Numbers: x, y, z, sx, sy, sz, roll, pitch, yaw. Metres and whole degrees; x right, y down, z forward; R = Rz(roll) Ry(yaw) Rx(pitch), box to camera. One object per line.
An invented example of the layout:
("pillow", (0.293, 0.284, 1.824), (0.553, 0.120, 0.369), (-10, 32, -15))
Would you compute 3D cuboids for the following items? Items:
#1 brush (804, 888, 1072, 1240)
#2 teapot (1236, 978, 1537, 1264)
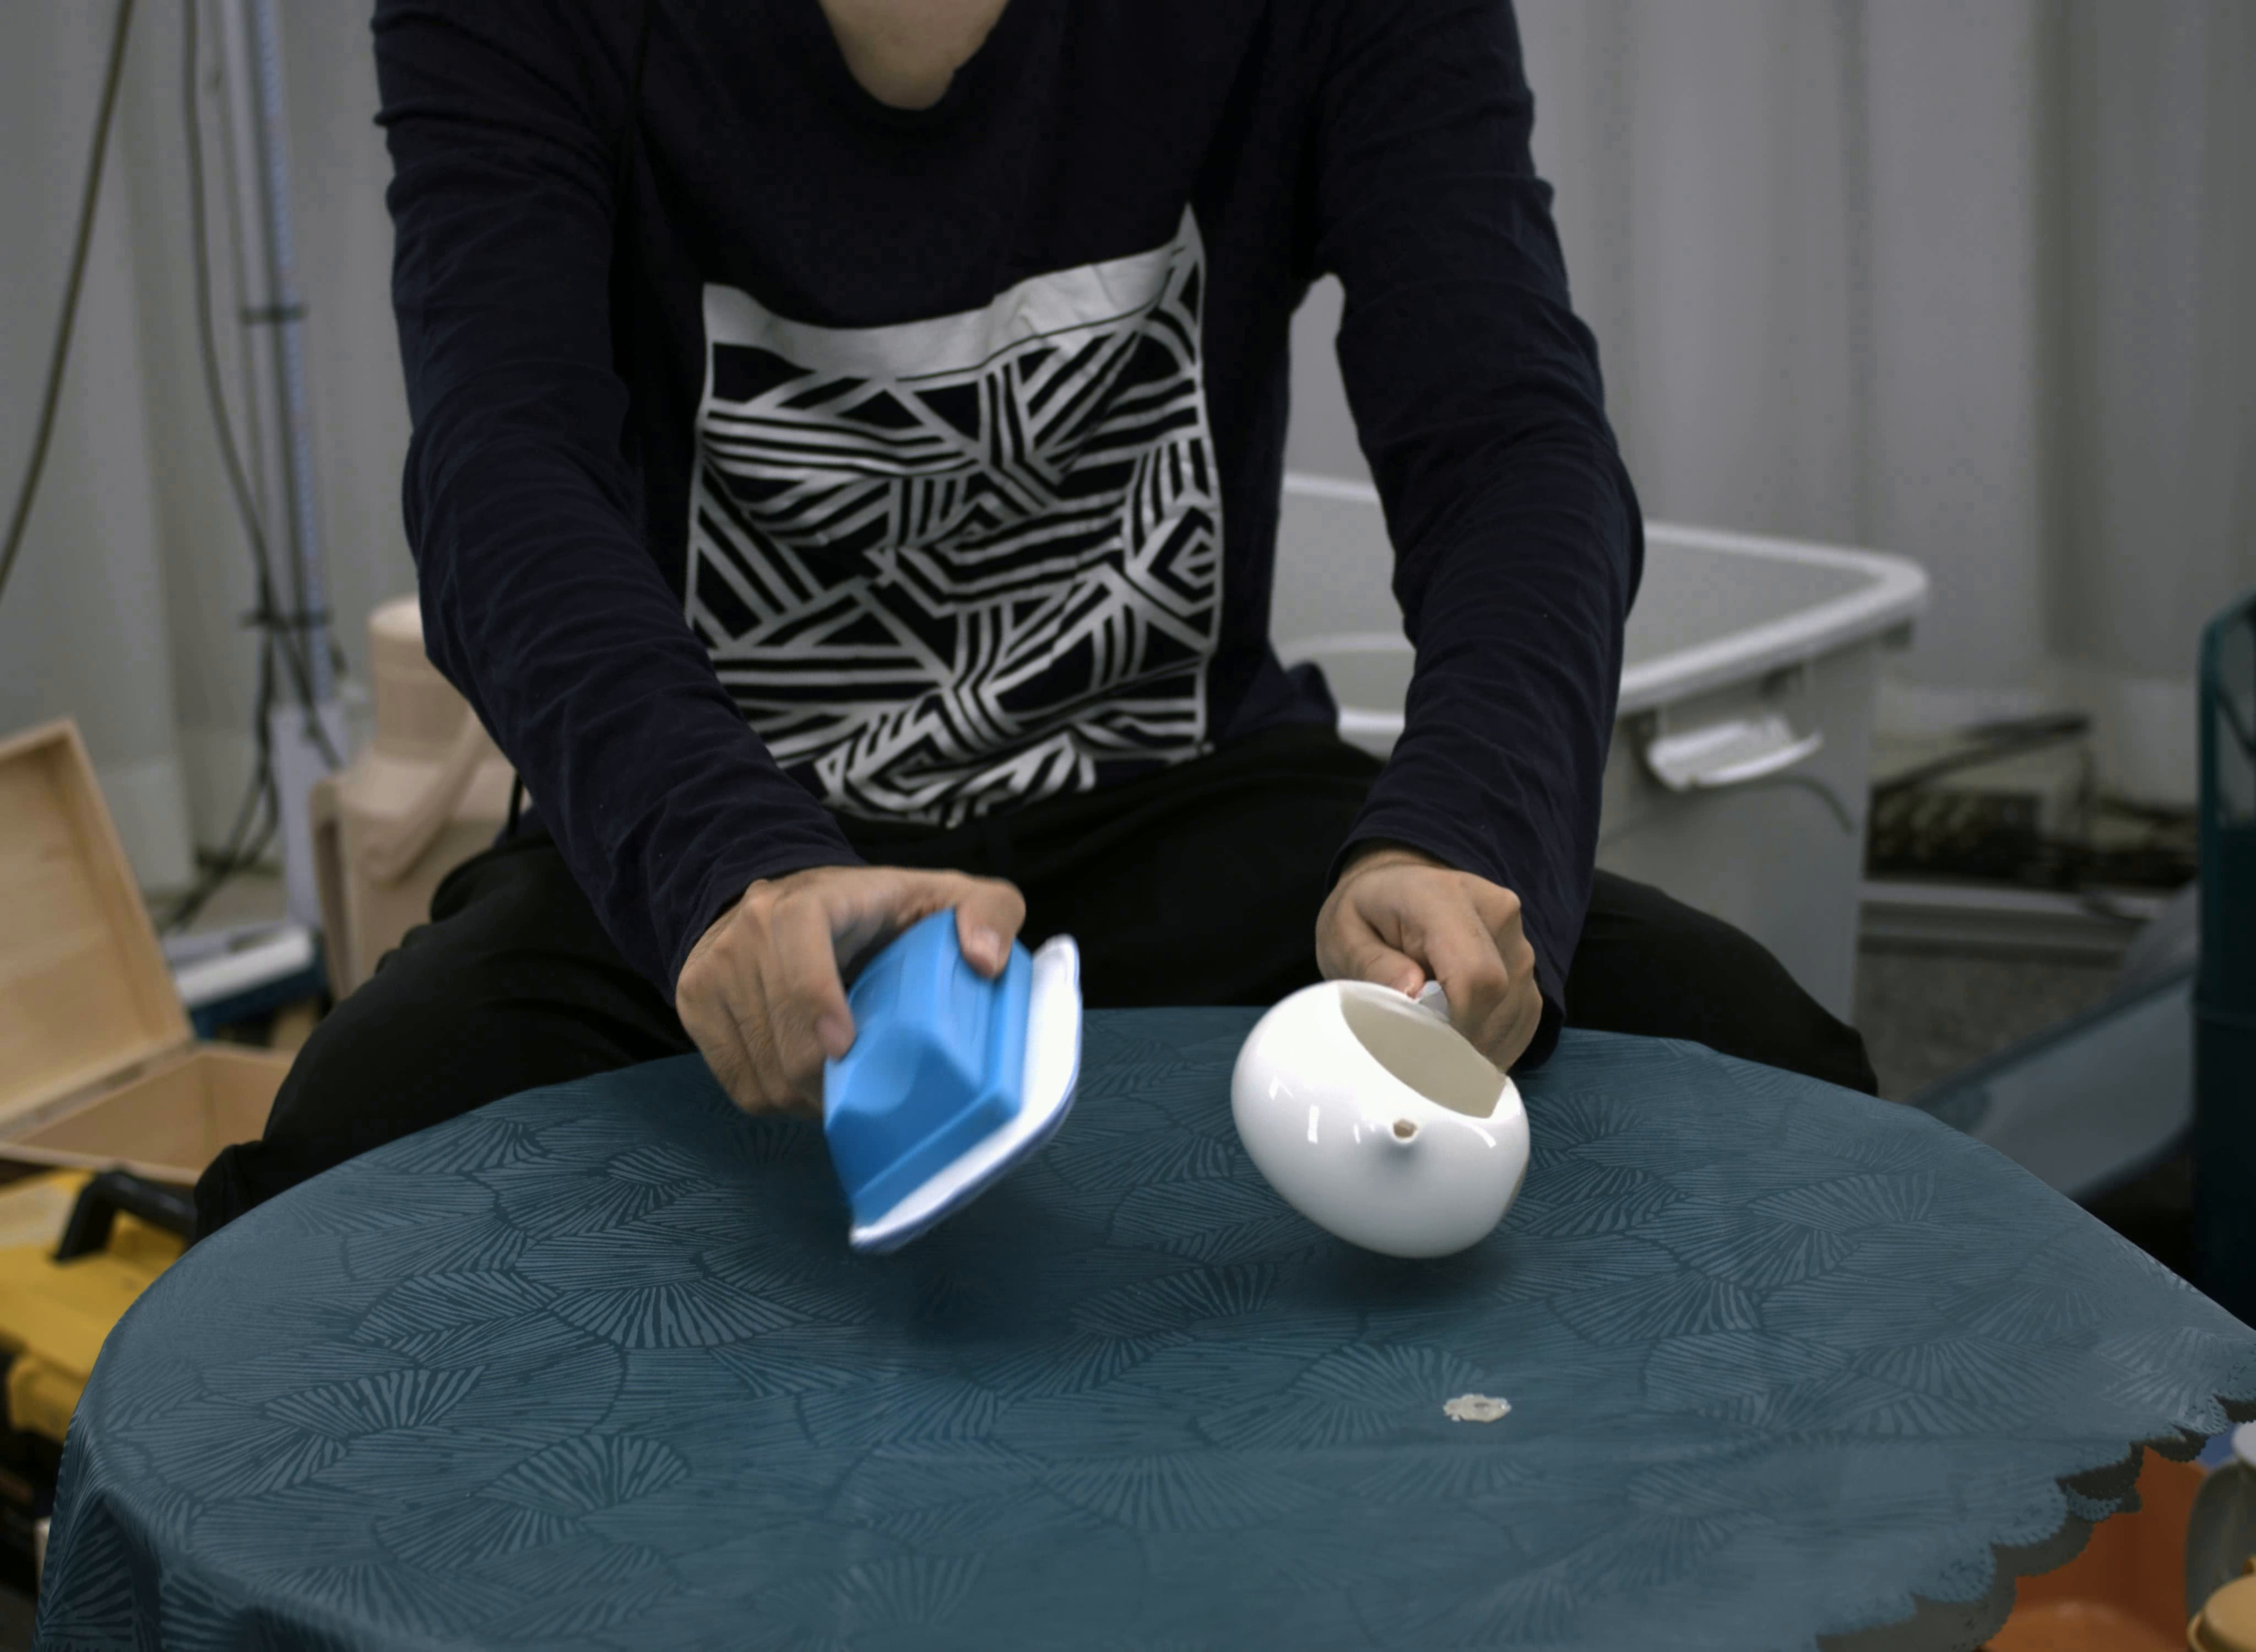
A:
("brush", (-0.064, 0.066, 1.637), (0.083, 0.055, 0.145), (-31, 19, 15))
("teapot", (0.077, 0.084, 1.635), (0.093, 0.056, 0.128), (26, 24, -8))
